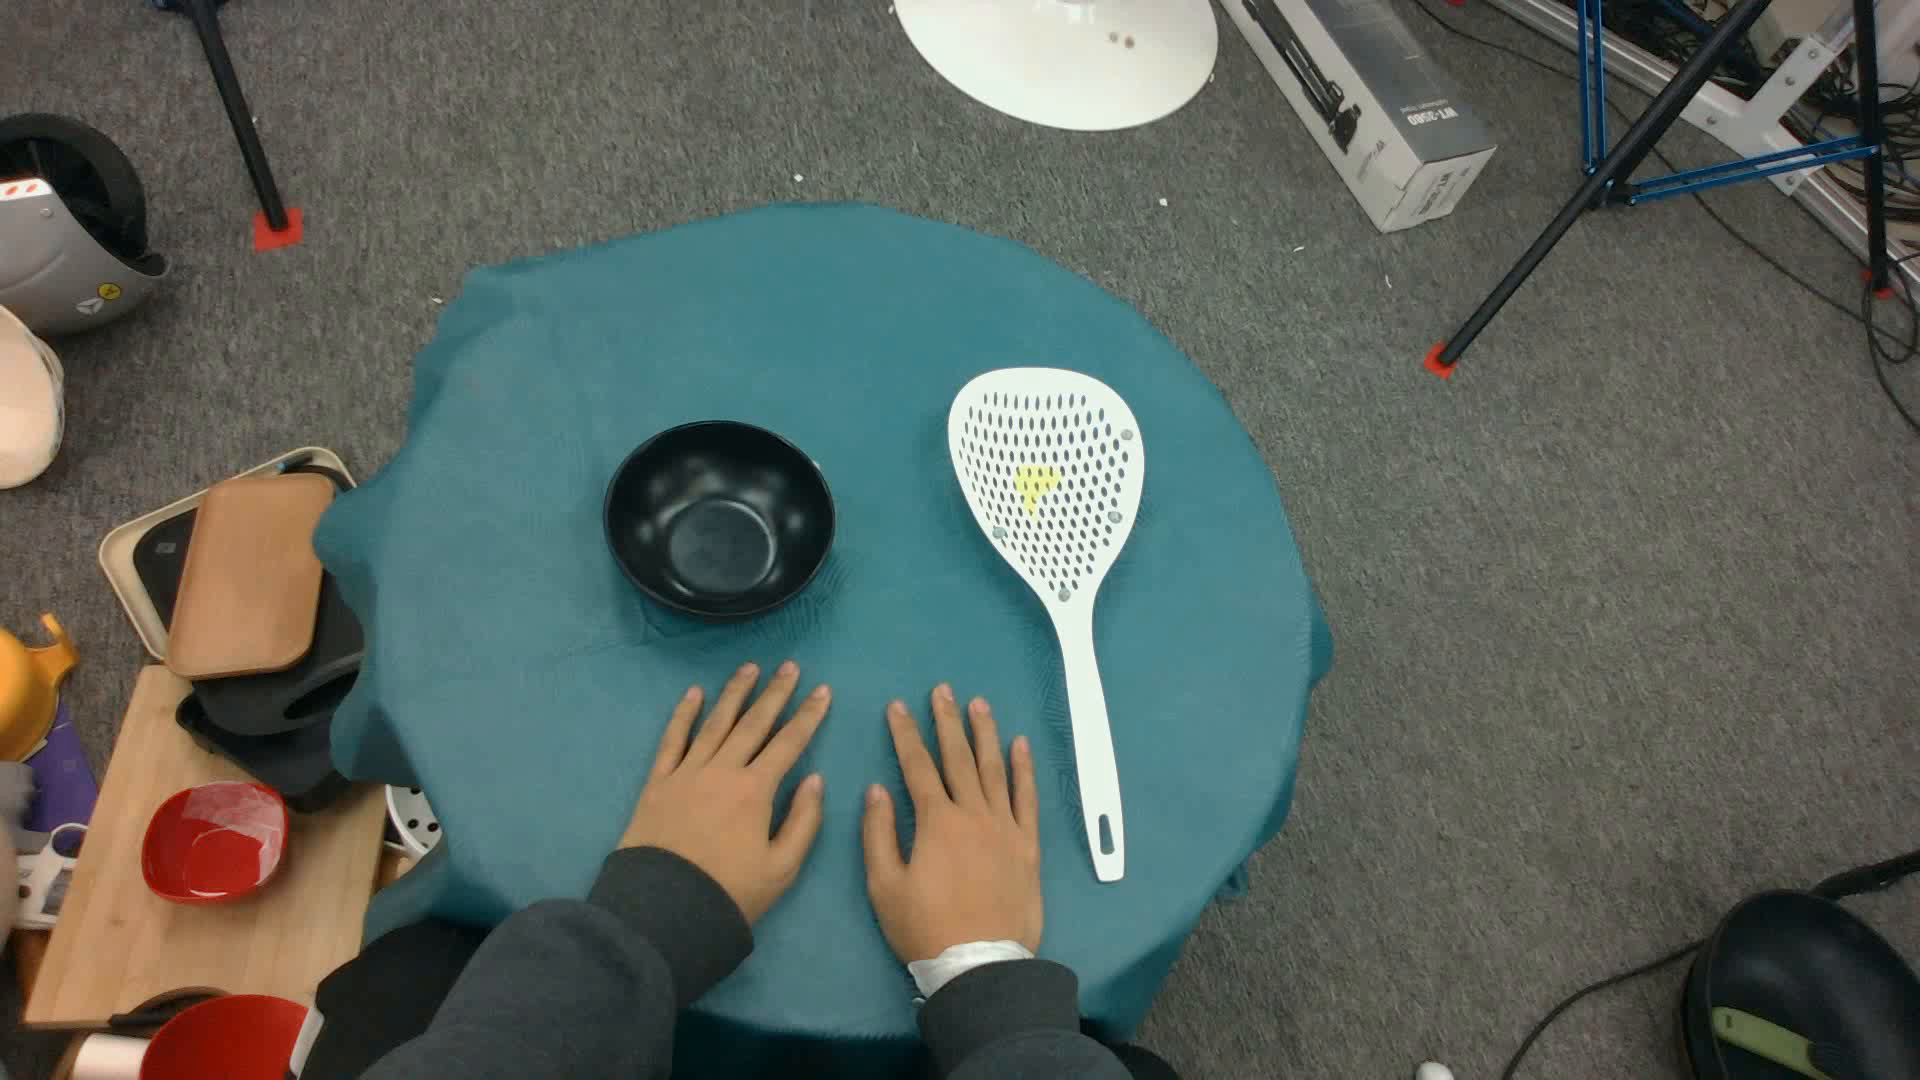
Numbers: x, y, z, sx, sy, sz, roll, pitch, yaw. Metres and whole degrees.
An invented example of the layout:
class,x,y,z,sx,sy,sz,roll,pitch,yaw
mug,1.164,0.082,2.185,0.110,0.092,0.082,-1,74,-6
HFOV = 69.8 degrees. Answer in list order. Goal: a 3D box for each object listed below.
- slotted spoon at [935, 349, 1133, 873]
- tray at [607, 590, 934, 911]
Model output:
class,x,y,z,sx,sy,sz,roll,pitch,yaw
slotted spoon,0.061,0.034,0.877,0.137,0.050,0.349,0,62,-17
tray,-0.190,0.204,1.383,0.300,0.027,0.192,44,61,14
